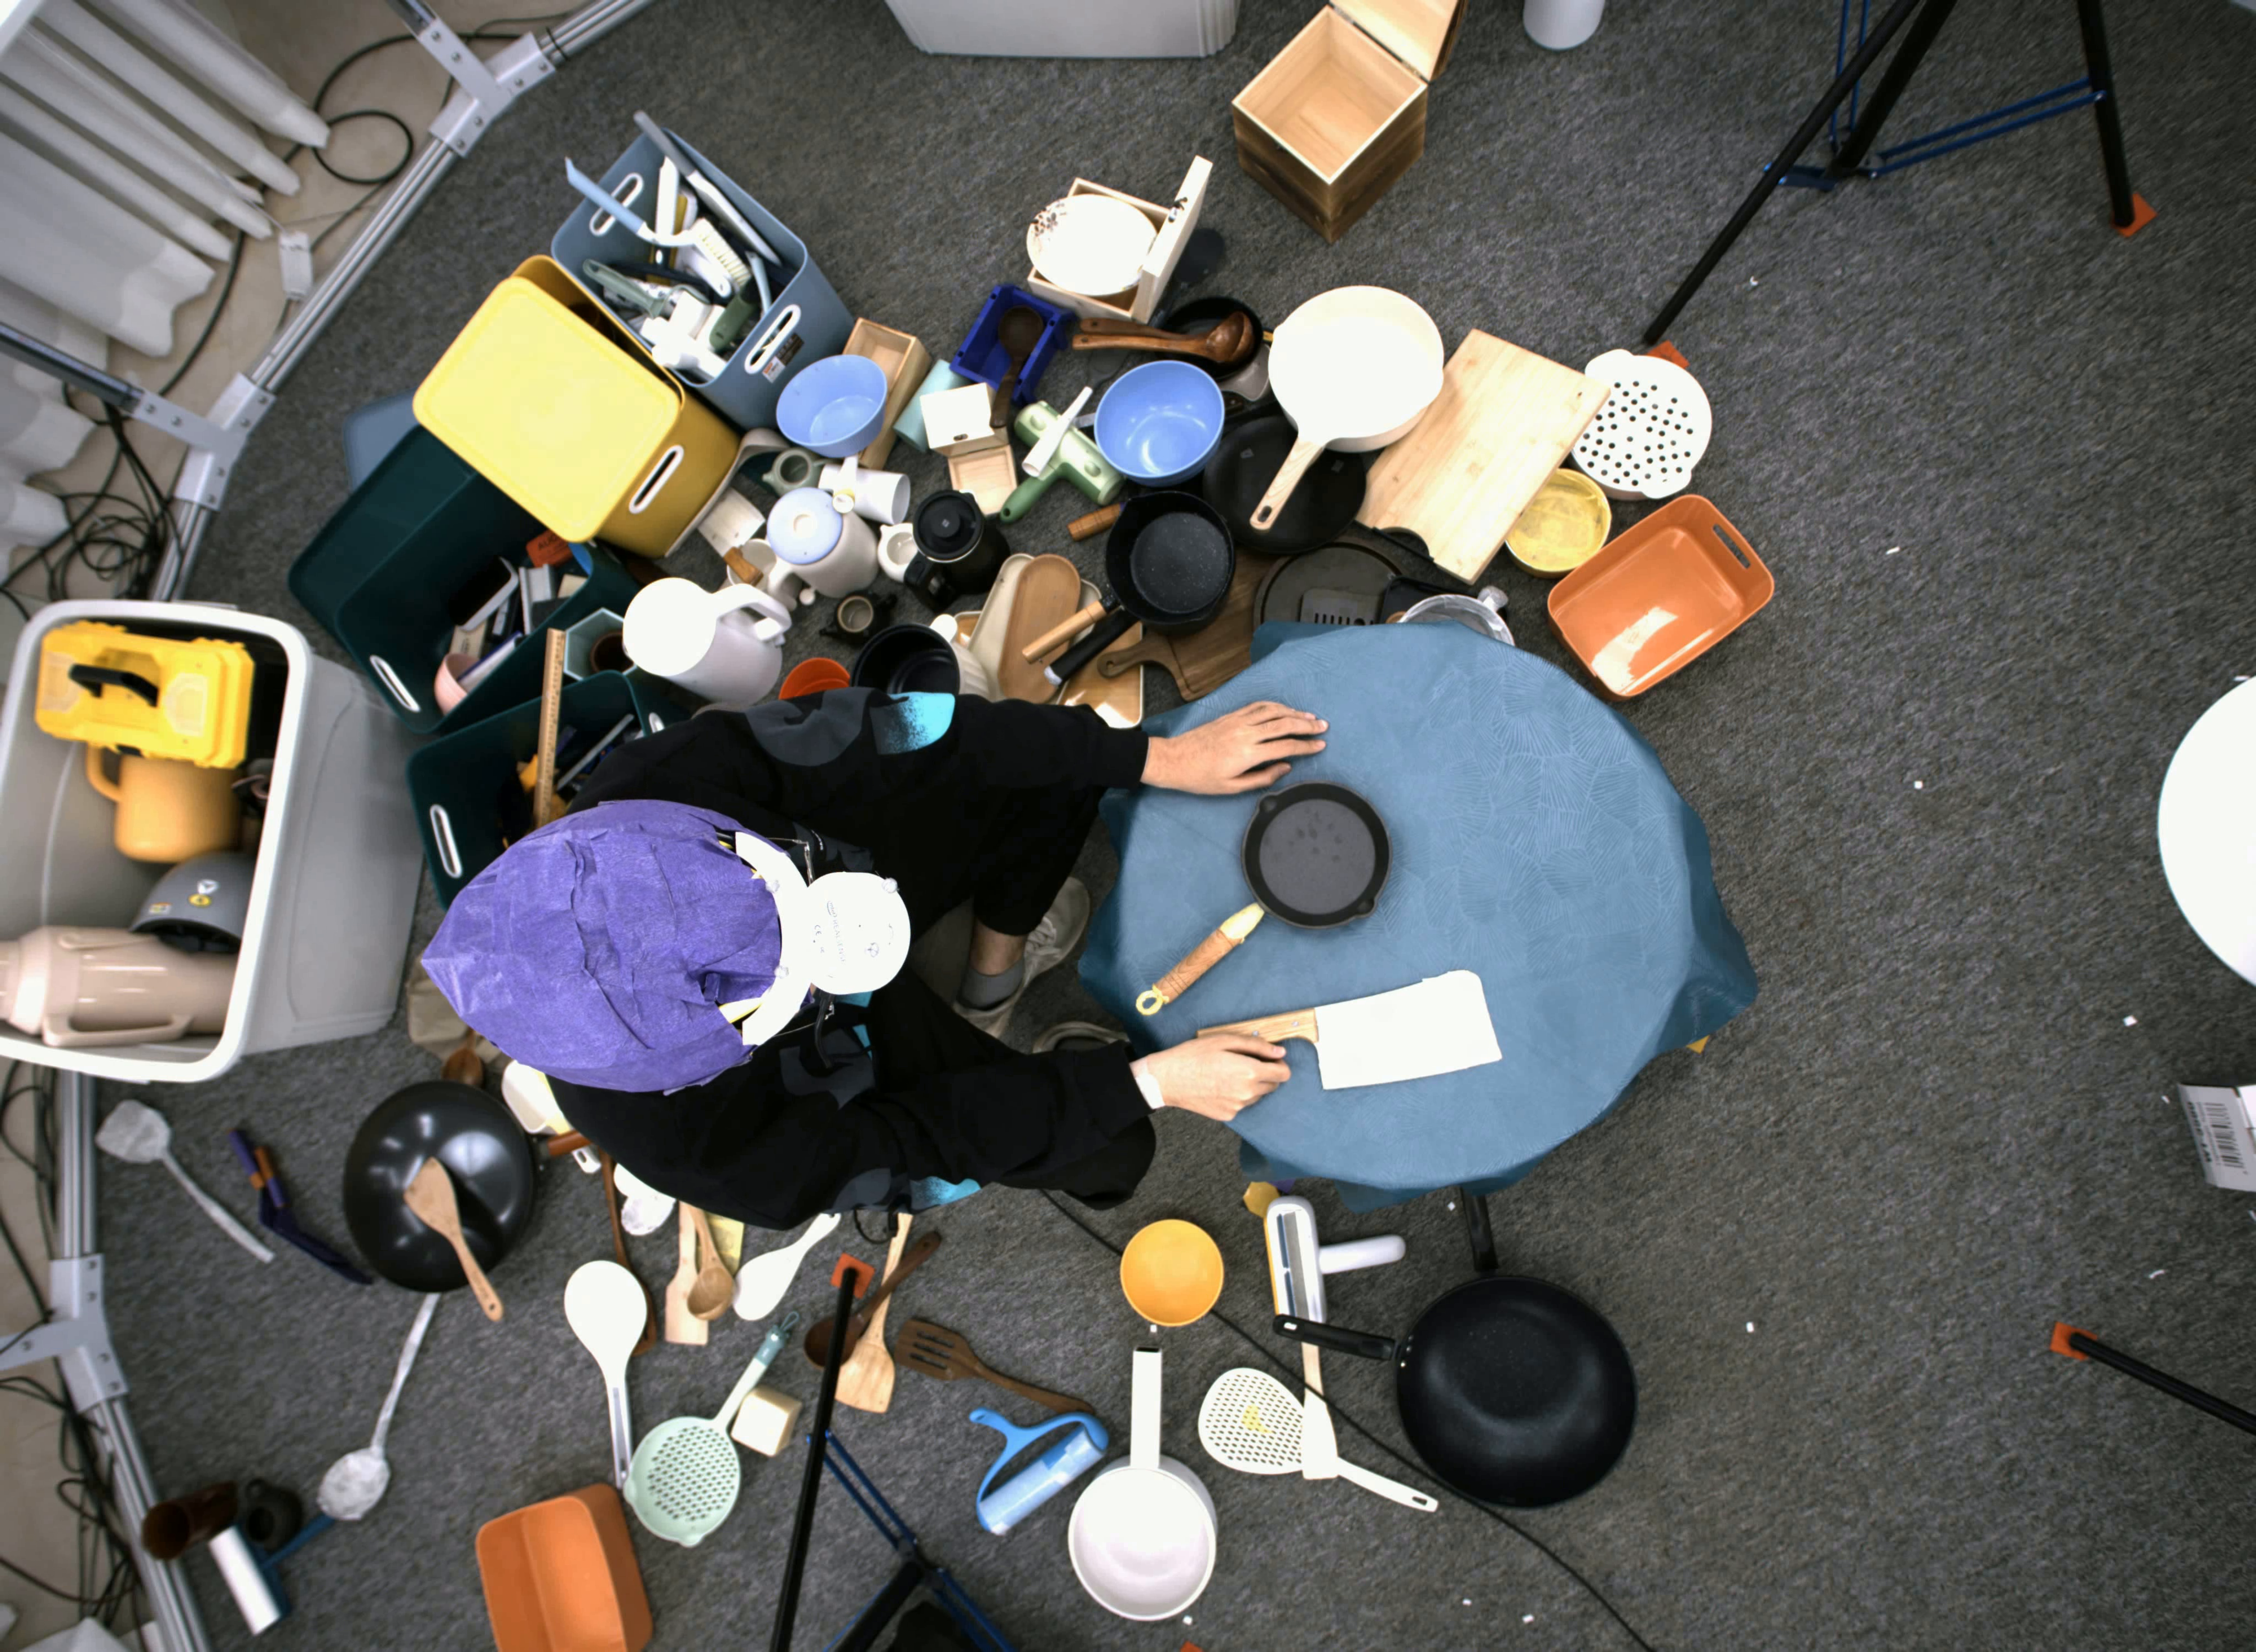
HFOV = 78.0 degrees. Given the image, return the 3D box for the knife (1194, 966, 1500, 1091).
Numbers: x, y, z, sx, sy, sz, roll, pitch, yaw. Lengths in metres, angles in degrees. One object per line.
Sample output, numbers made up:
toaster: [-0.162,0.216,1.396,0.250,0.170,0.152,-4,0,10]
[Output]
knife: [0.226,0.217,1.451,0.316,0.022,0.113,-8,86,7]

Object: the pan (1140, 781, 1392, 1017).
pan: [0.135,0.087,1.459,0.325,0.049,0.168,-42,81,4]
